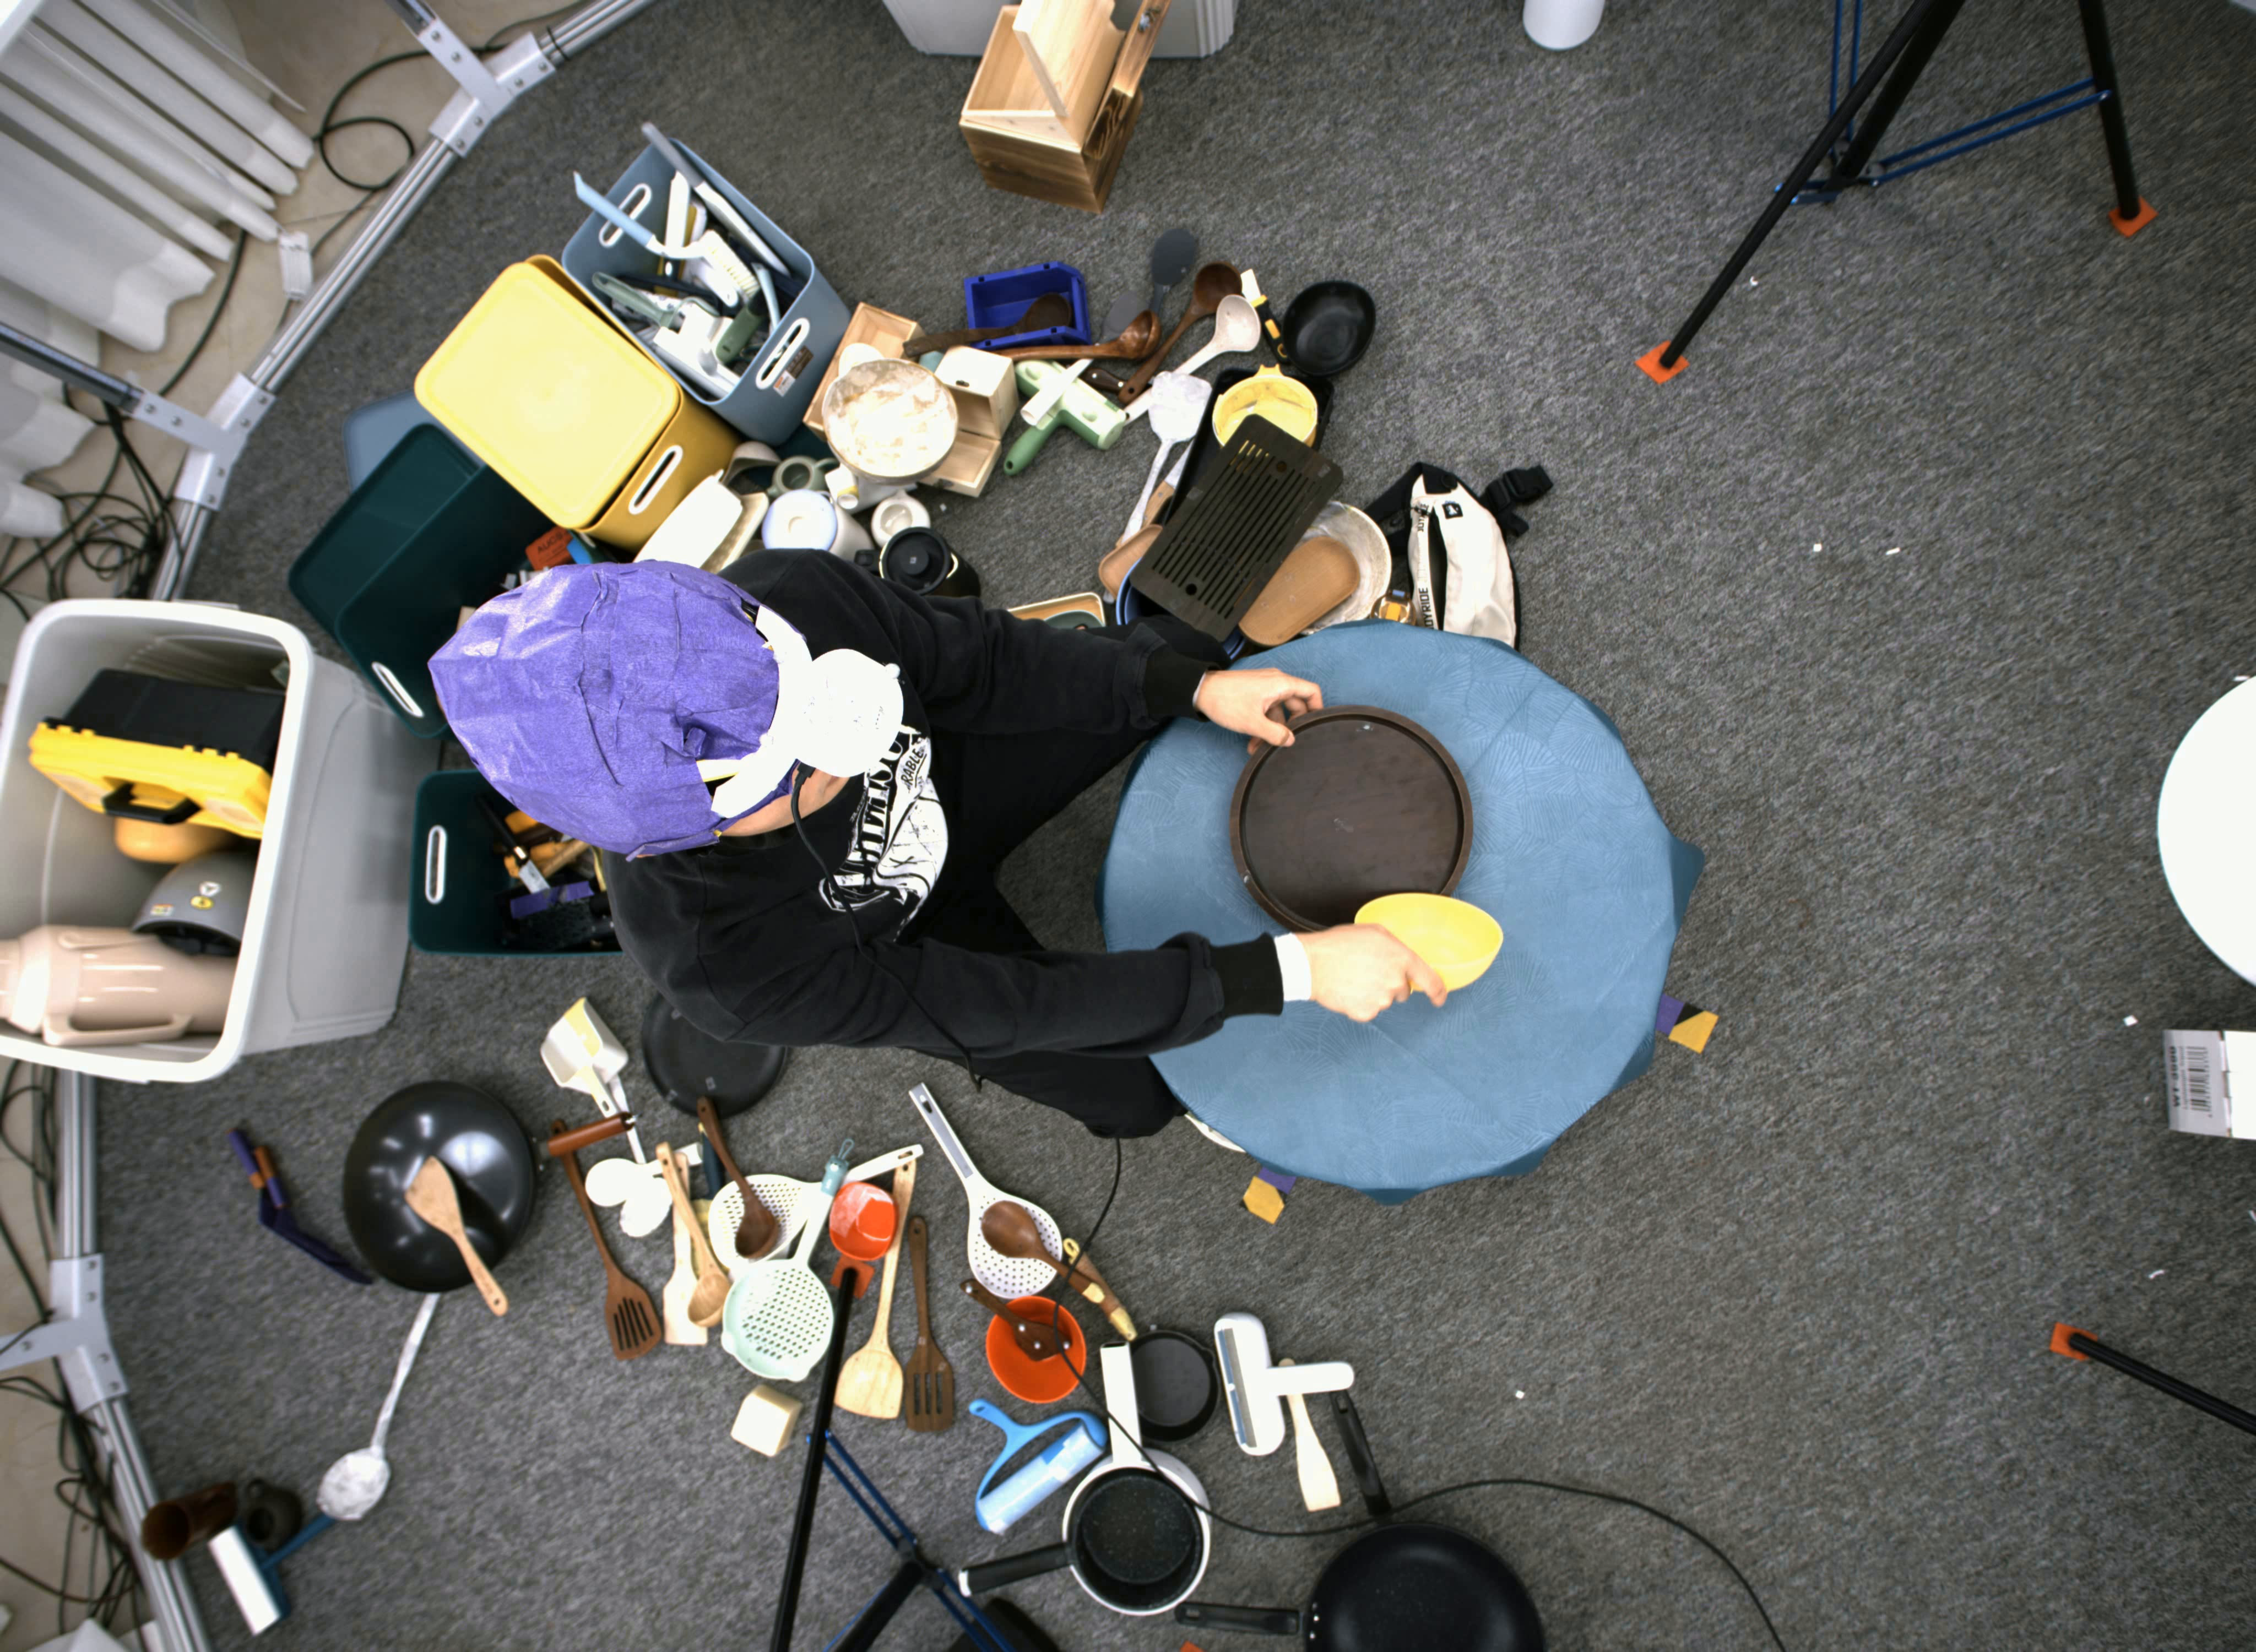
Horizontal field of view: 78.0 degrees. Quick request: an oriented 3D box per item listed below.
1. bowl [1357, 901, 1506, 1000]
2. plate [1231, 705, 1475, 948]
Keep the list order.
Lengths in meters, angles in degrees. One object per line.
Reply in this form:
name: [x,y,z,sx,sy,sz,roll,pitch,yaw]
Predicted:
bowl: [0.300,0.131,1.376,0.146,0.142,0.061,3,115,10]
plate: [0.235,0.000,1.445,0.255,0.029,0.256,1,97,8]
